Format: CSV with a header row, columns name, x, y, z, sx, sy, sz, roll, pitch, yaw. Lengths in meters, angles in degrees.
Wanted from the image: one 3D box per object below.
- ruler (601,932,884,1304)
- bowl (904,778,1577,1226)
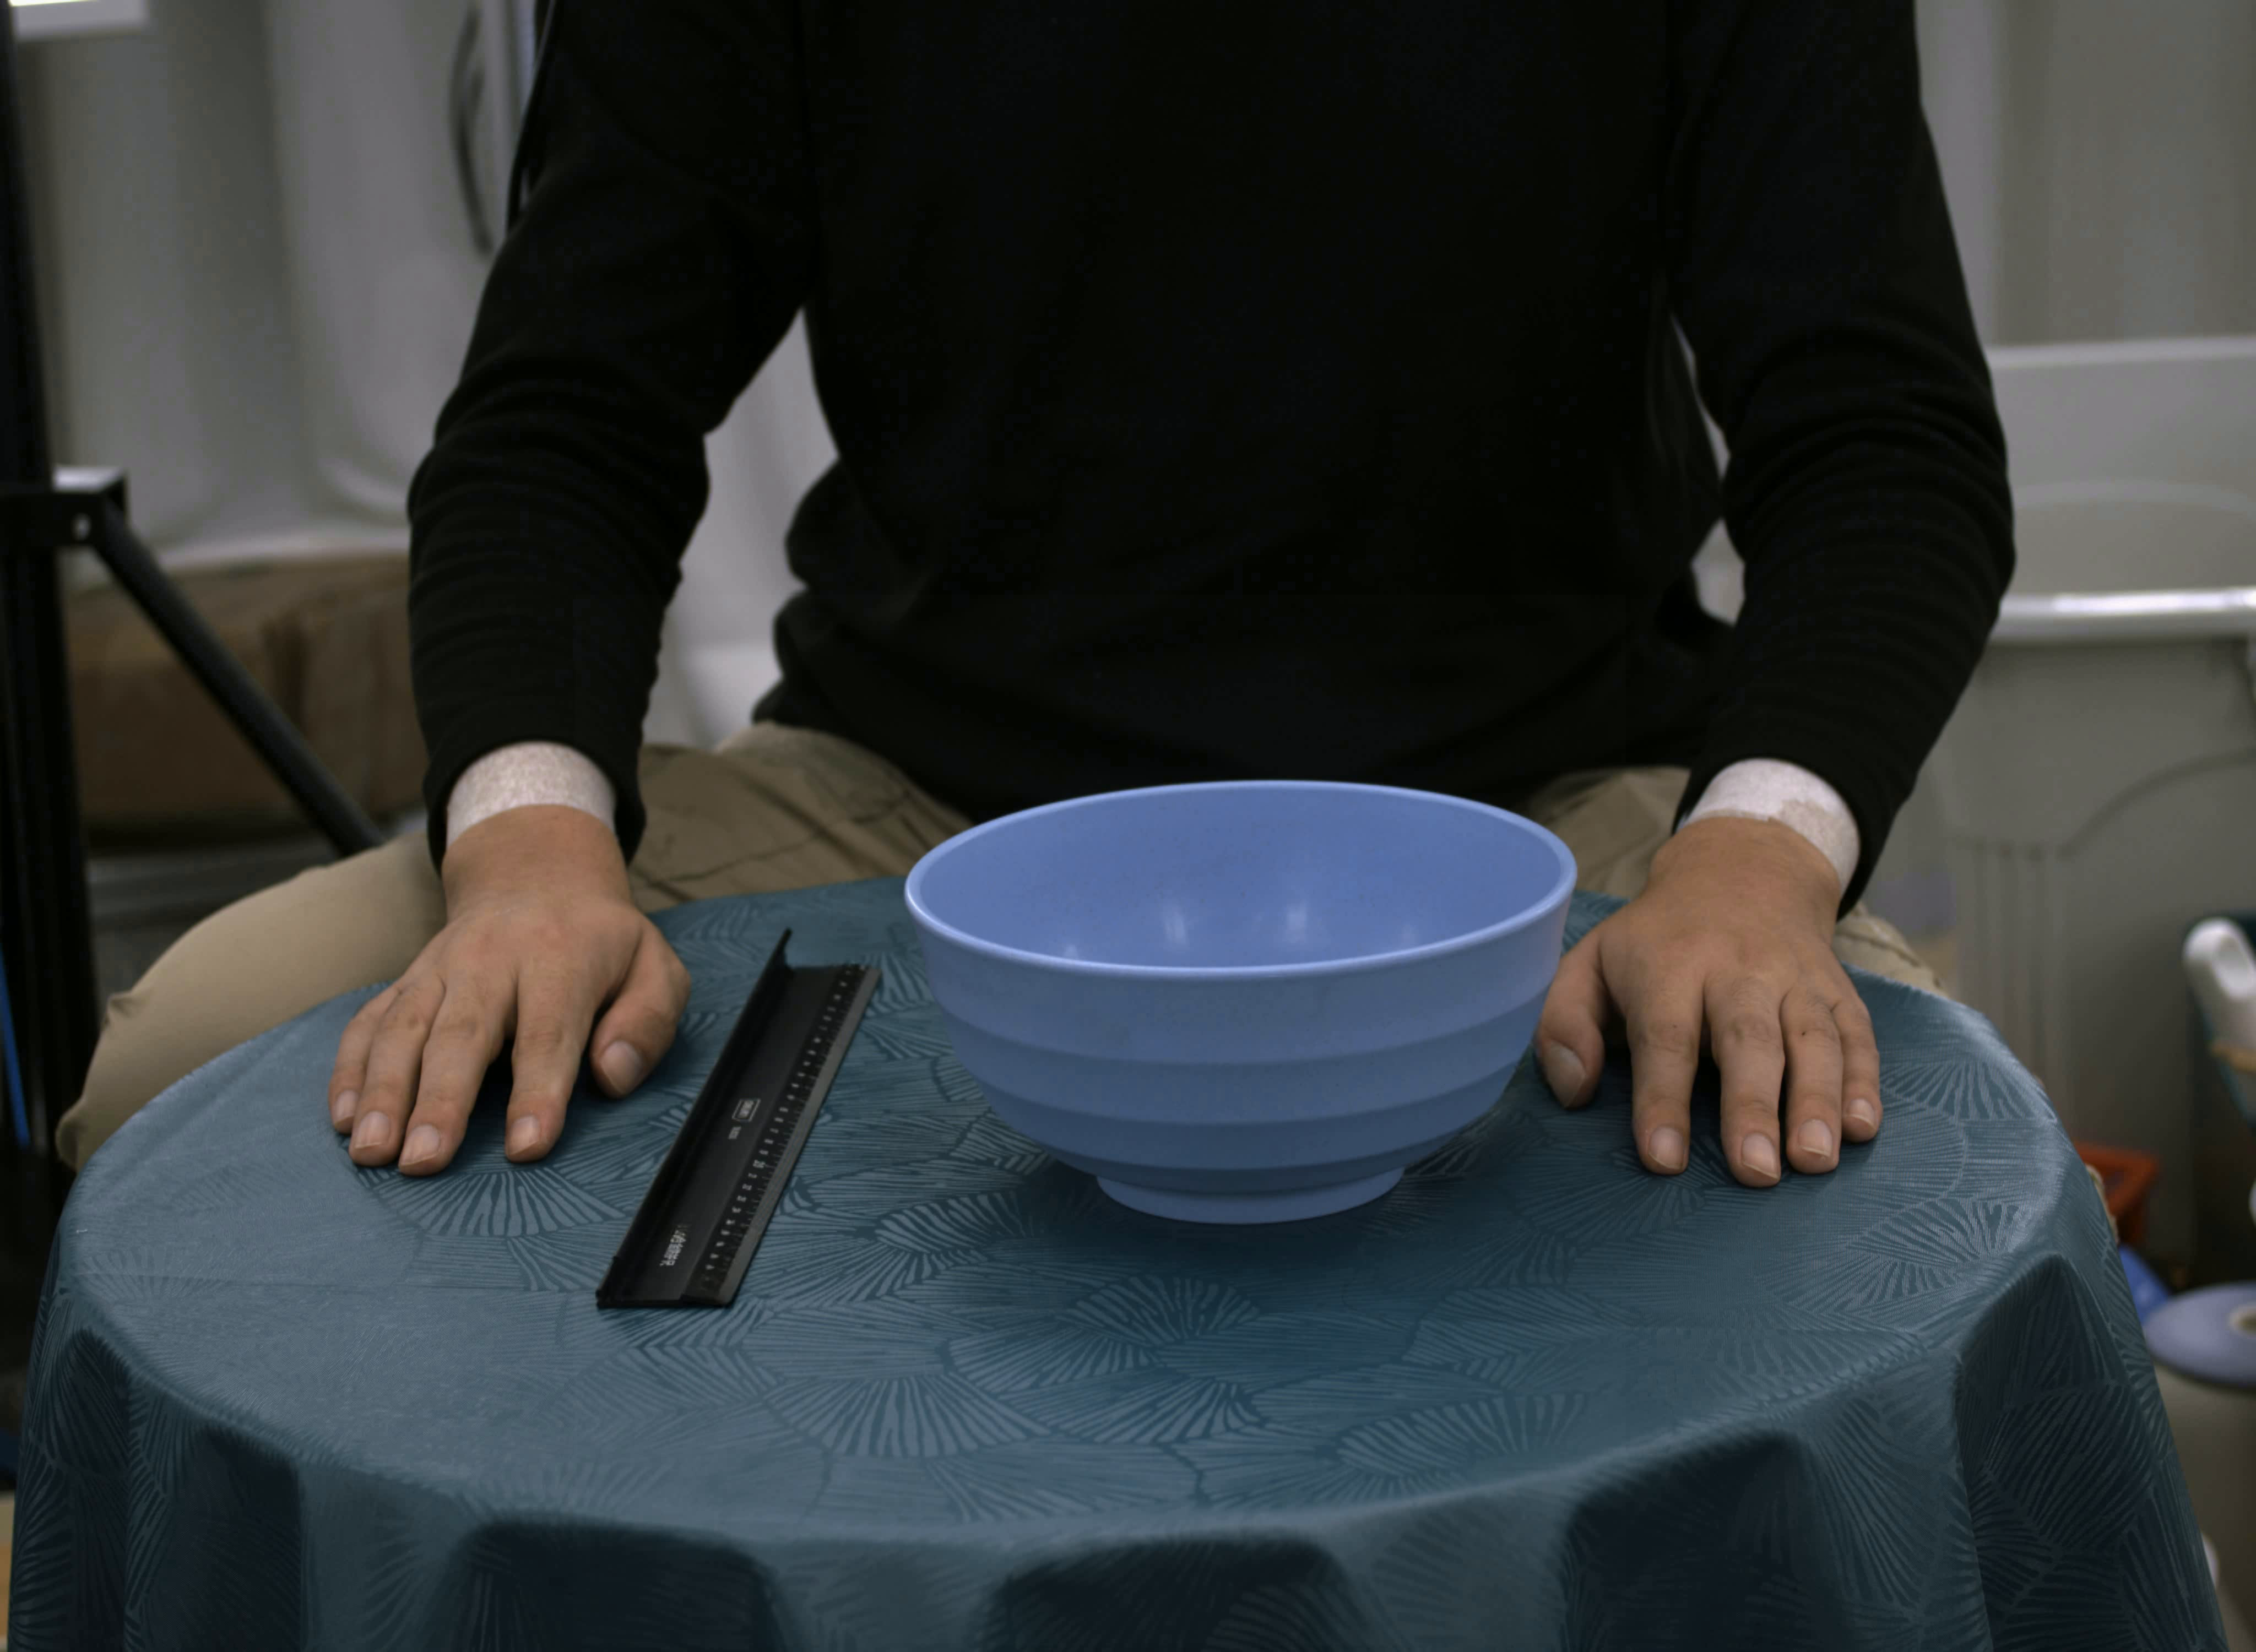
name,x,y,z,sx,sy,sz,roll,pitch,yaw
ruler,-0.114,0.085,1.629,0.039,0.017,0.312,5,16,5
bowl,0.034,0.057,1.556,0.195,0.095,0.197,-2,16,-1
